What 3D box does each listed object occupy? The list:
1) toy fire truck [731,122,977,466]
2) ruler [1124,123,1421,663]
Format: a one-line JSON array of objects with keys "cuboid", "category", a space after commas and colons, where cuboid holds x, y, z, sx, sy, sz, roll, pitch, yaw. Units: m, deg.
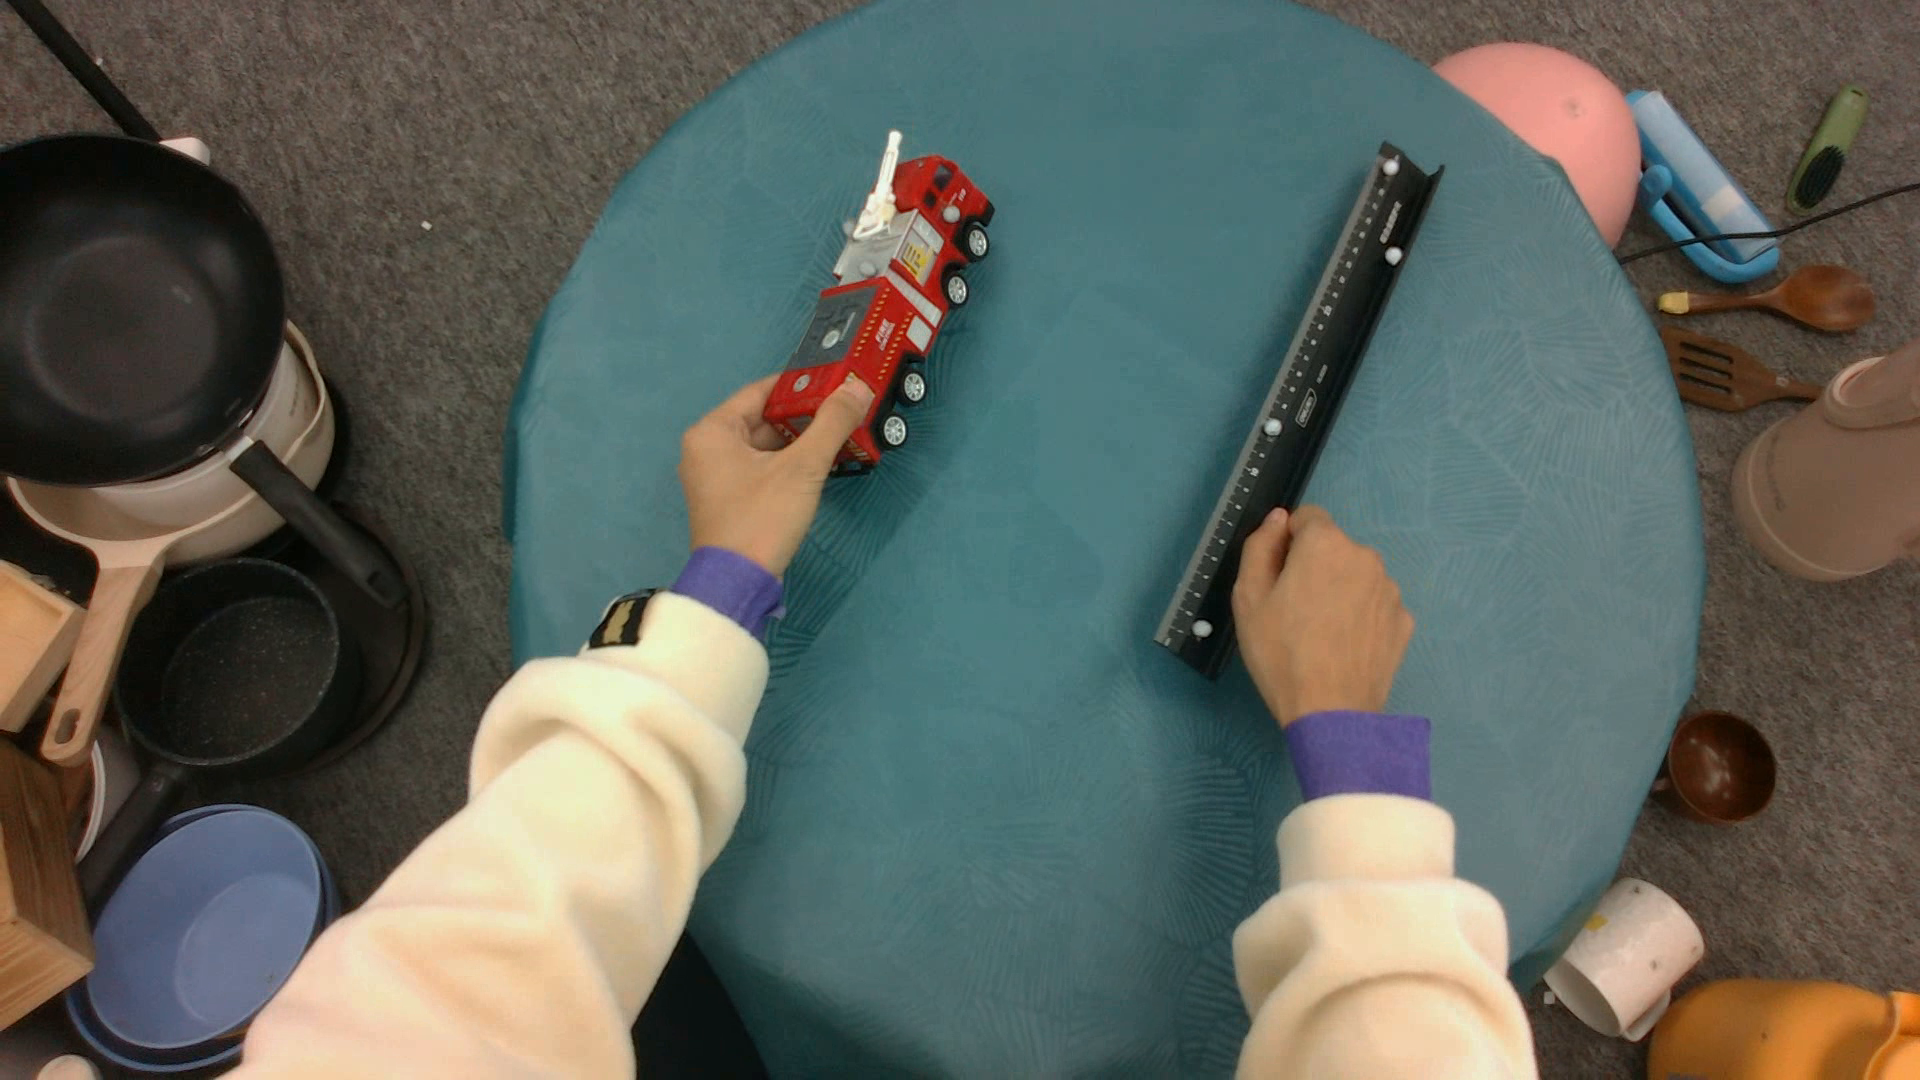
[{"cuboid": [-0.049, -0.116, 0.661, 0.054, 0.070, 0.168, -1, 59, 43], "category": "toy fire truck"}, {"cuboid": [0.159, -0.083, 0.671, 0.039, 0.017, 0.313, 35, 69, -18], "category": "ruler"}]
